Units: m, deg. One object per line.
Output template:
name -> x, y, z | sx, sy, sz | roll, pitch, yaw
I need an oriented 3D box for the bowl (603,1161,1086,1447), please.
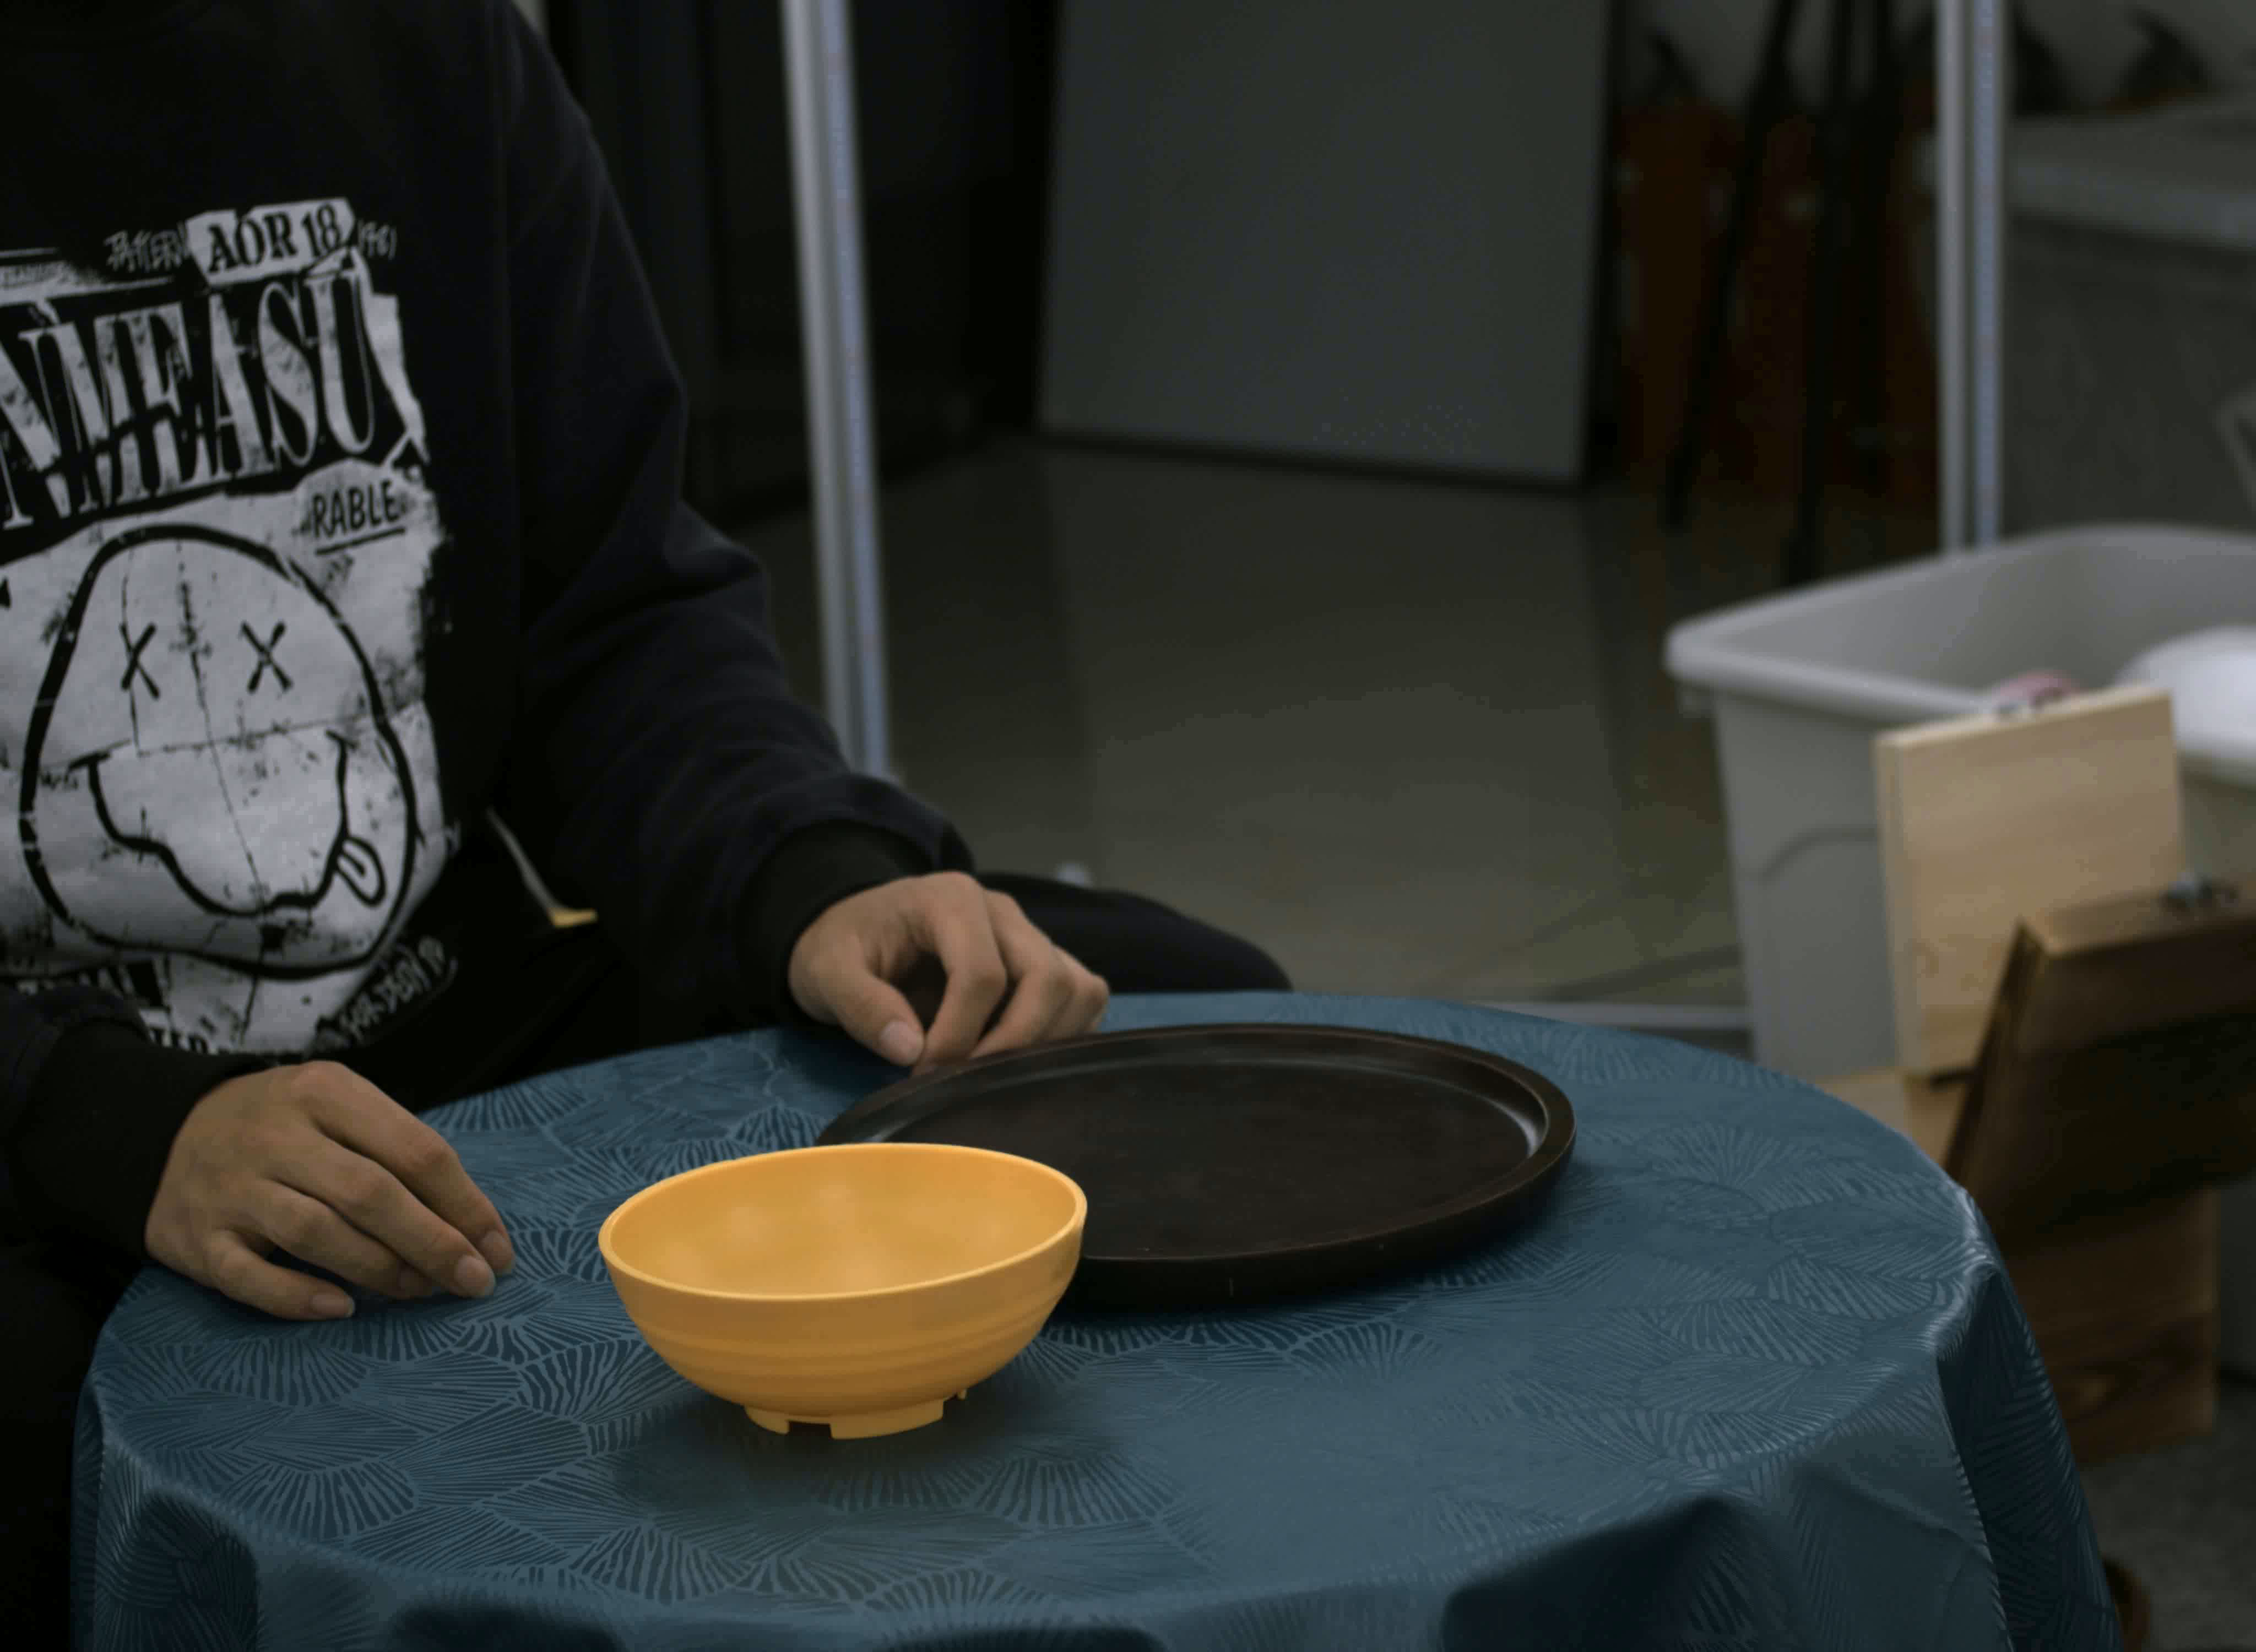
bowl -> -0.081, 0.144, 1.585 | 0.143, 0.061, 0.145 | -4, 11, 0

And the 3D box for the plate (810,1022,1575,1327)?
plate -> 0.022, 0.111, 1.760 | 0.251, 0.029, 0.255 | -6, 15, 1
